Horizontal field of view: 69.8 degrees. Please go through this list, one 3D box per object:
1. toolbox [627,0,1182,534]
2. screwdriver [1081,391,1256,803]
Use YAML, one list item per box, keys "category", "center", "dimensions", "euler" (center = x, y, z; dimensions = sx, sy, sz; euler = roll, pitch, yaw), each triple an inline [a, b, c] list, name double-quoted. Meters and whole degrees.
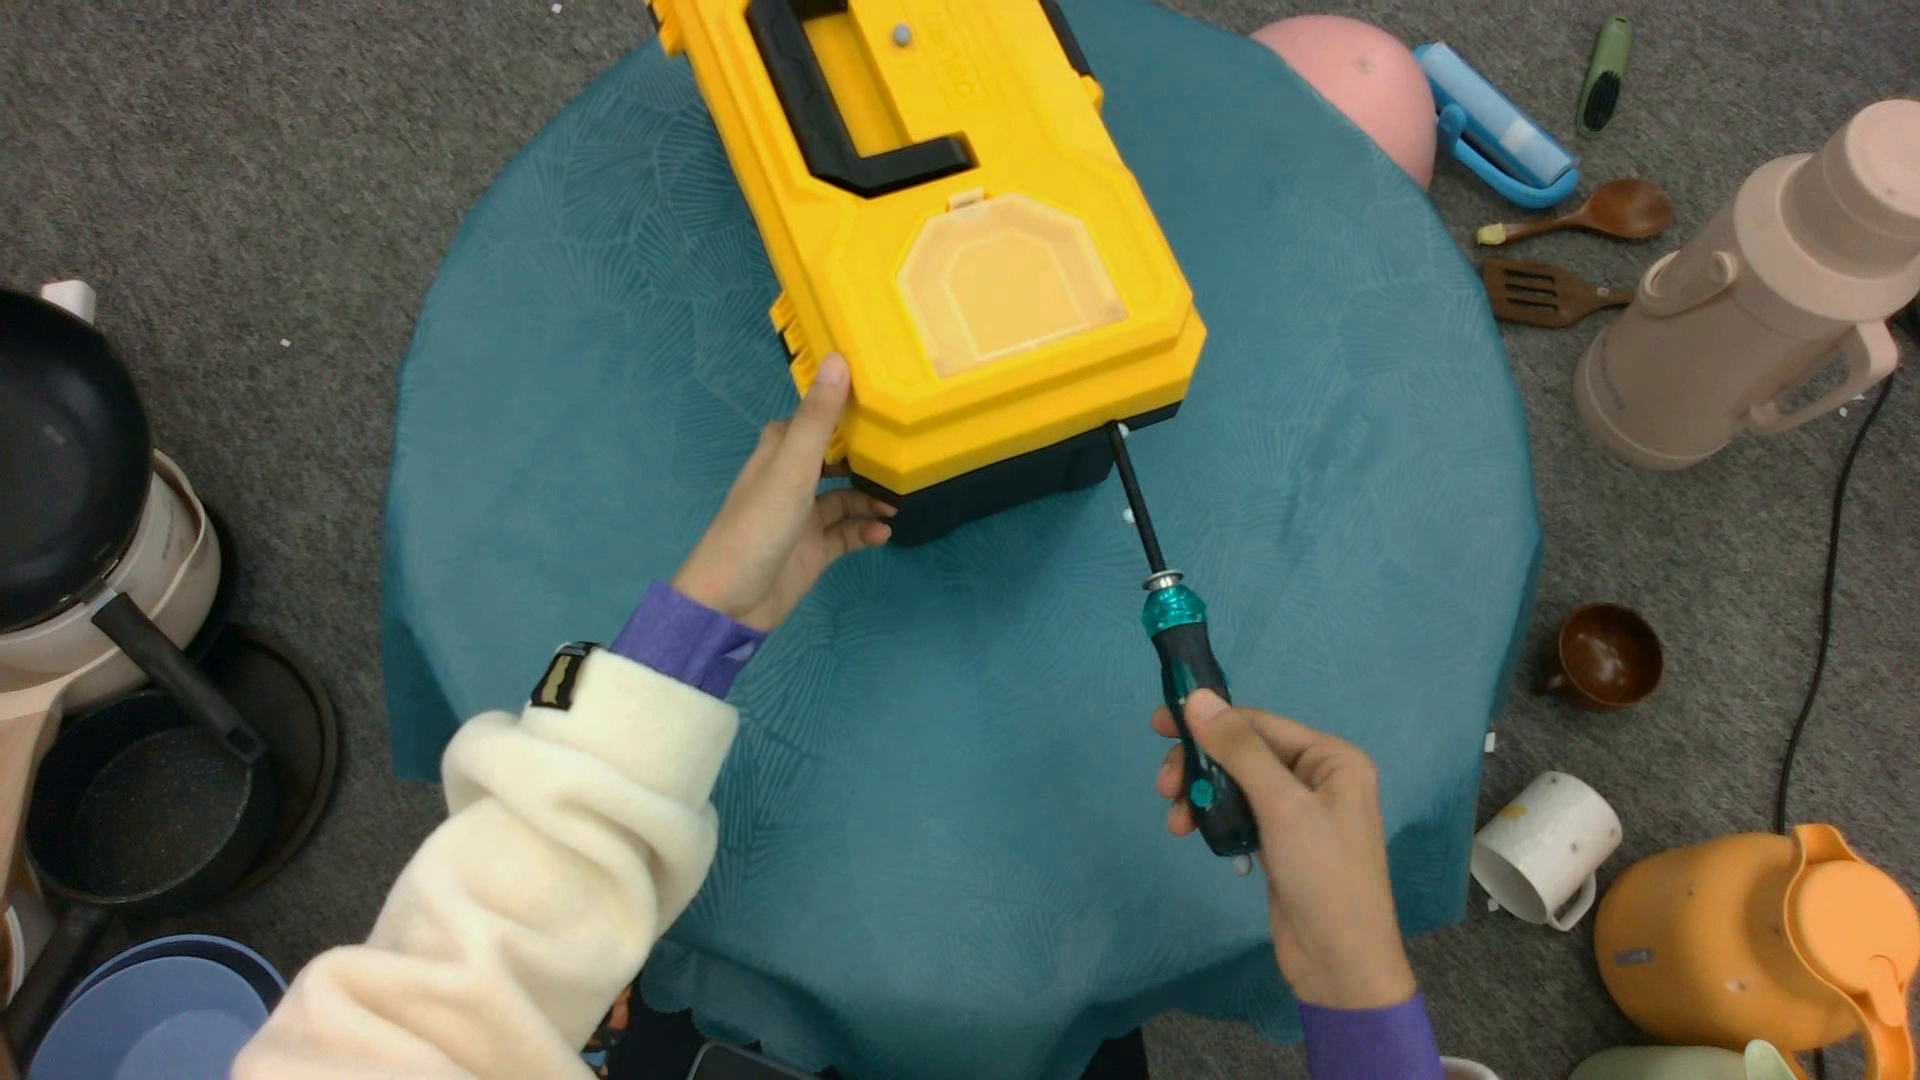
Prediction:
- category: "toolbox"
  center: [-0.042, -0.188, 0.680]
  dimensions: [0.181, 0.172, 0.352]
  euler: [-19, 72, -11]
- category: "screwdriver"
  center: [0.078, 0.015, 0.566]
  dimensions: [0.034, 0.033, 0.190]
  euler: [-13, 67, -9]
